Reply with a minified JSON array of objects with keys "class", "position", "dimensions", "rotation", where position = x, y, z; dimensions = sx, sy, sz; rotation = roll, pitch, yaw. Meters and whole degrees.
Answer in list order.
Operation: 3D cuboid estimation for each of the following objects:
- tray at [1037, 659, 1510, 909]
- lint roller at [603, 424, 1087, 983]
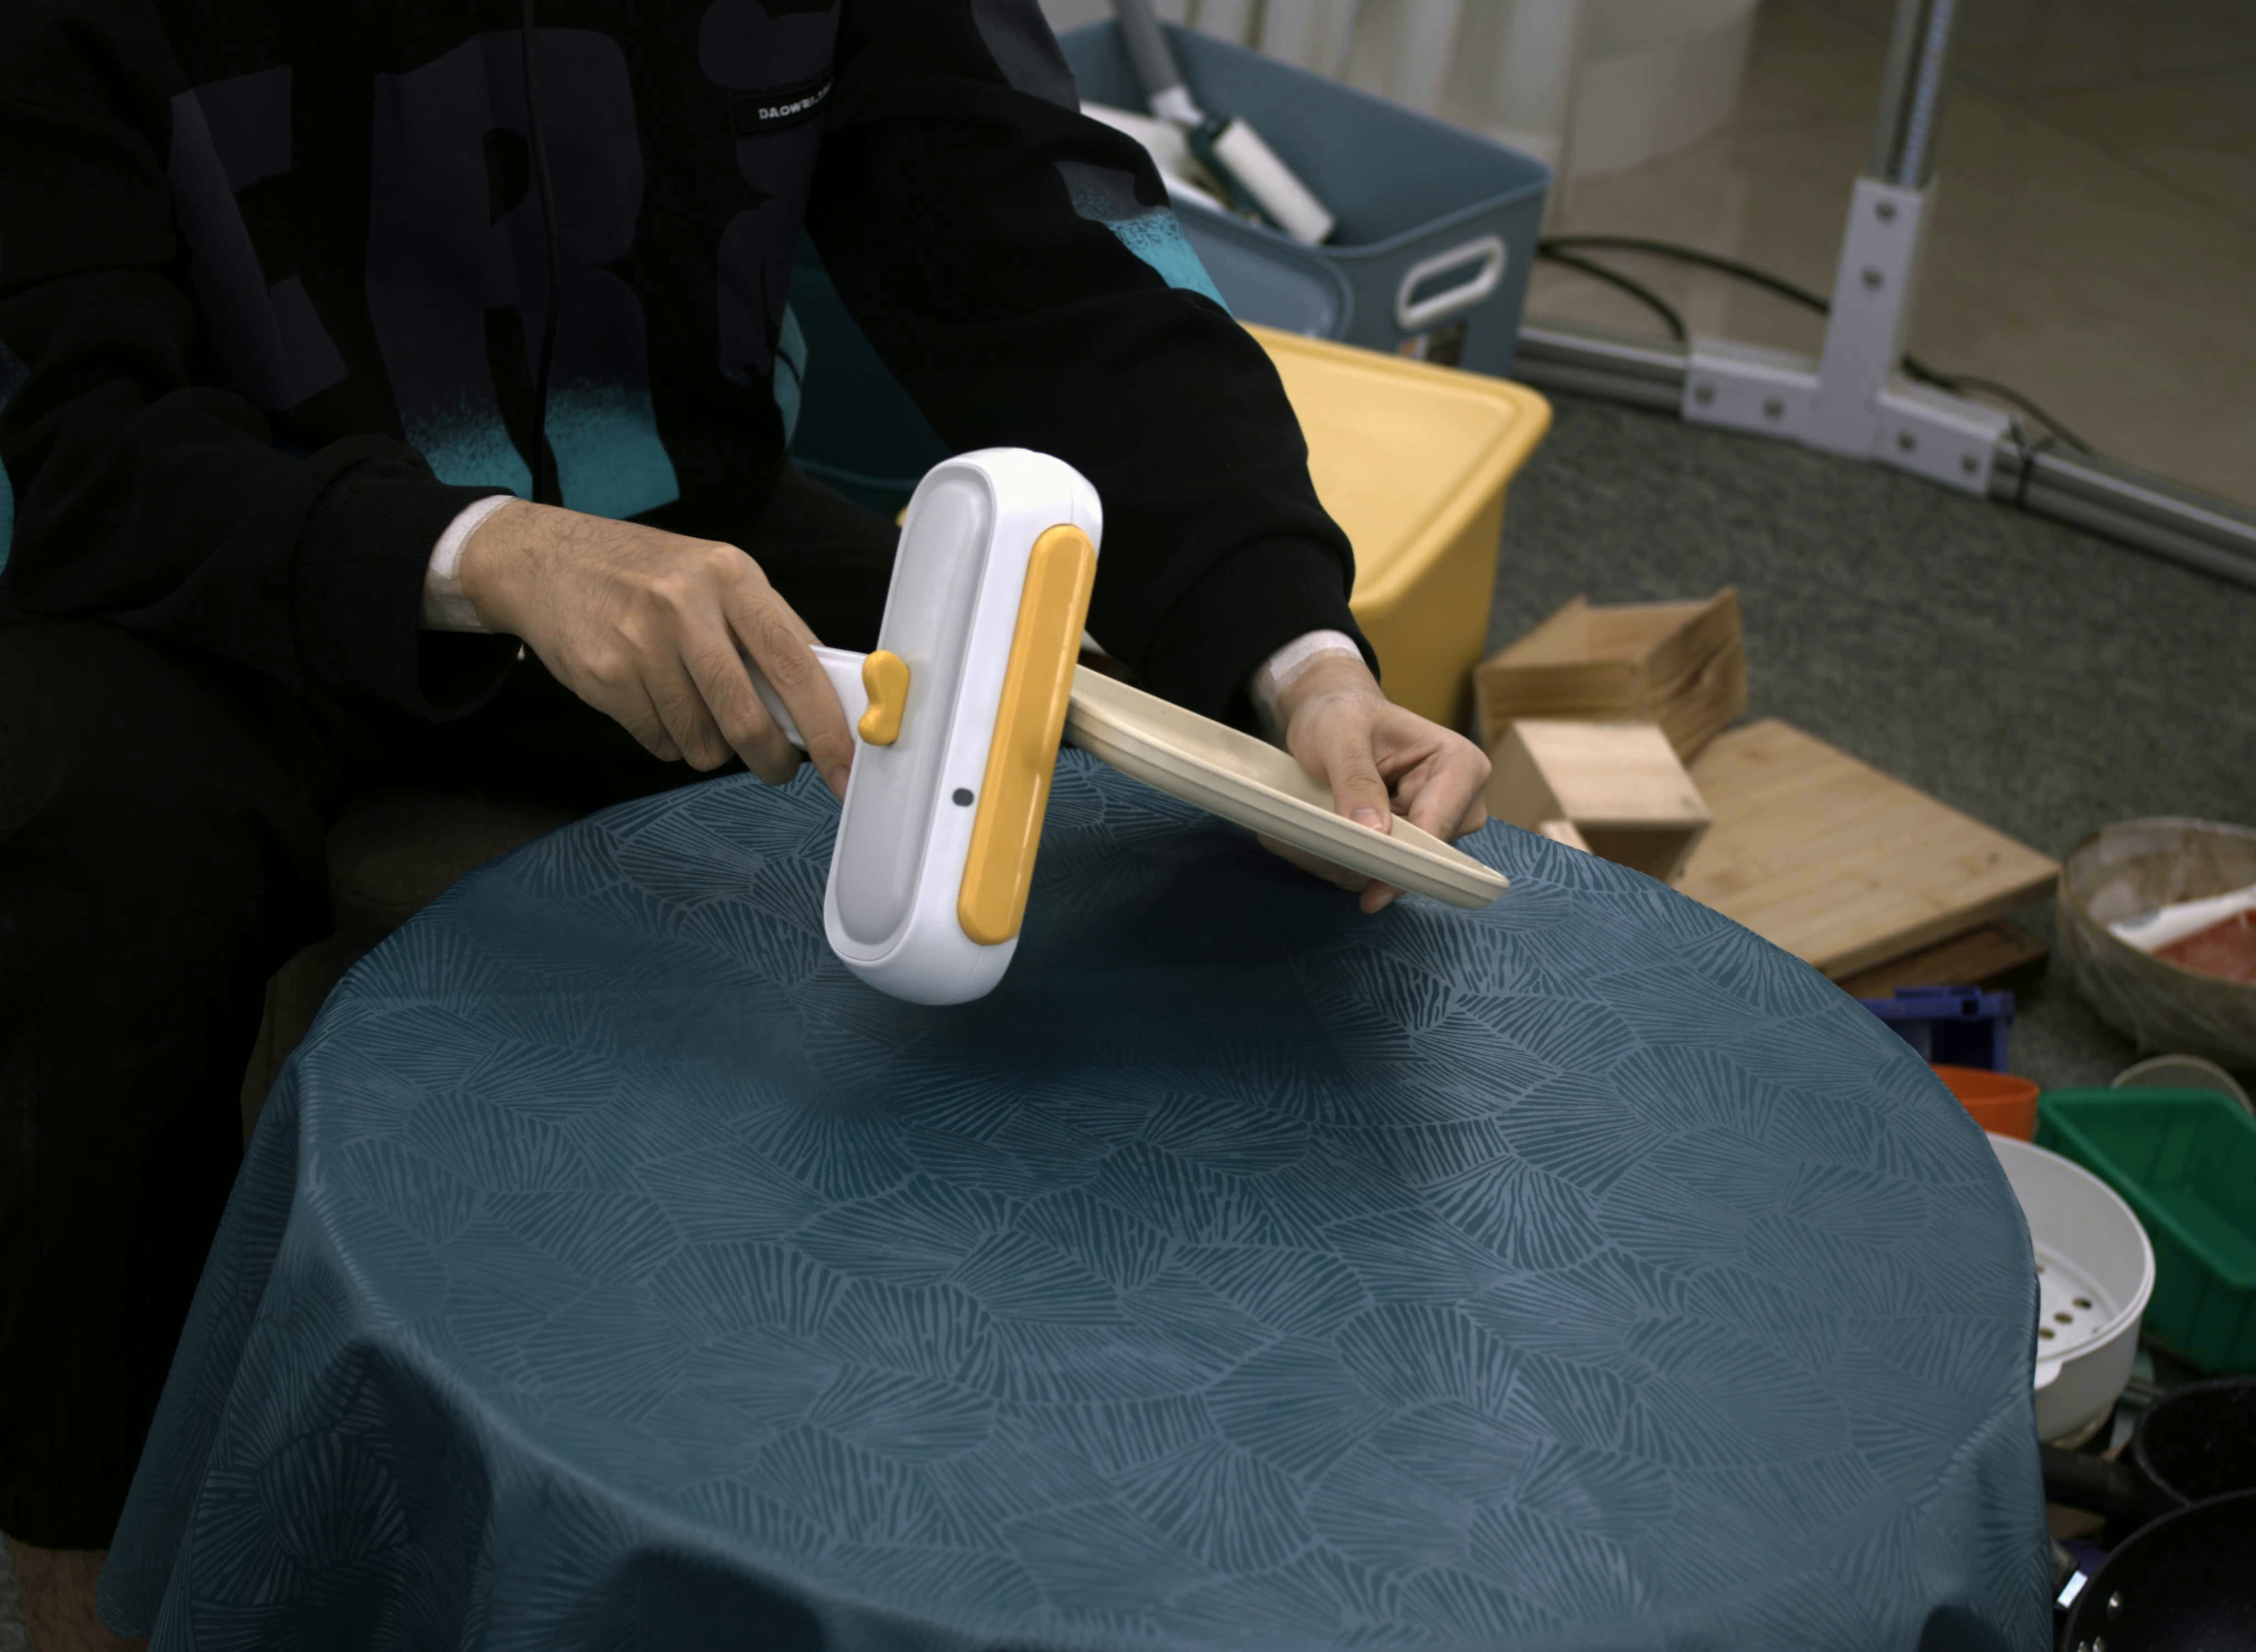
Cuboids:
[{"class":"tray","position":[0.026,-0.024,1.914],"dimensions":[0.170,0.017,0.241],"rotation":[22,4,-23]},{"class":"lint roller","position":[-0.102,-0.046,1.861],"dimensions":[0.073,0.193,0.193],"rotation":[8,-3,-44]}]
